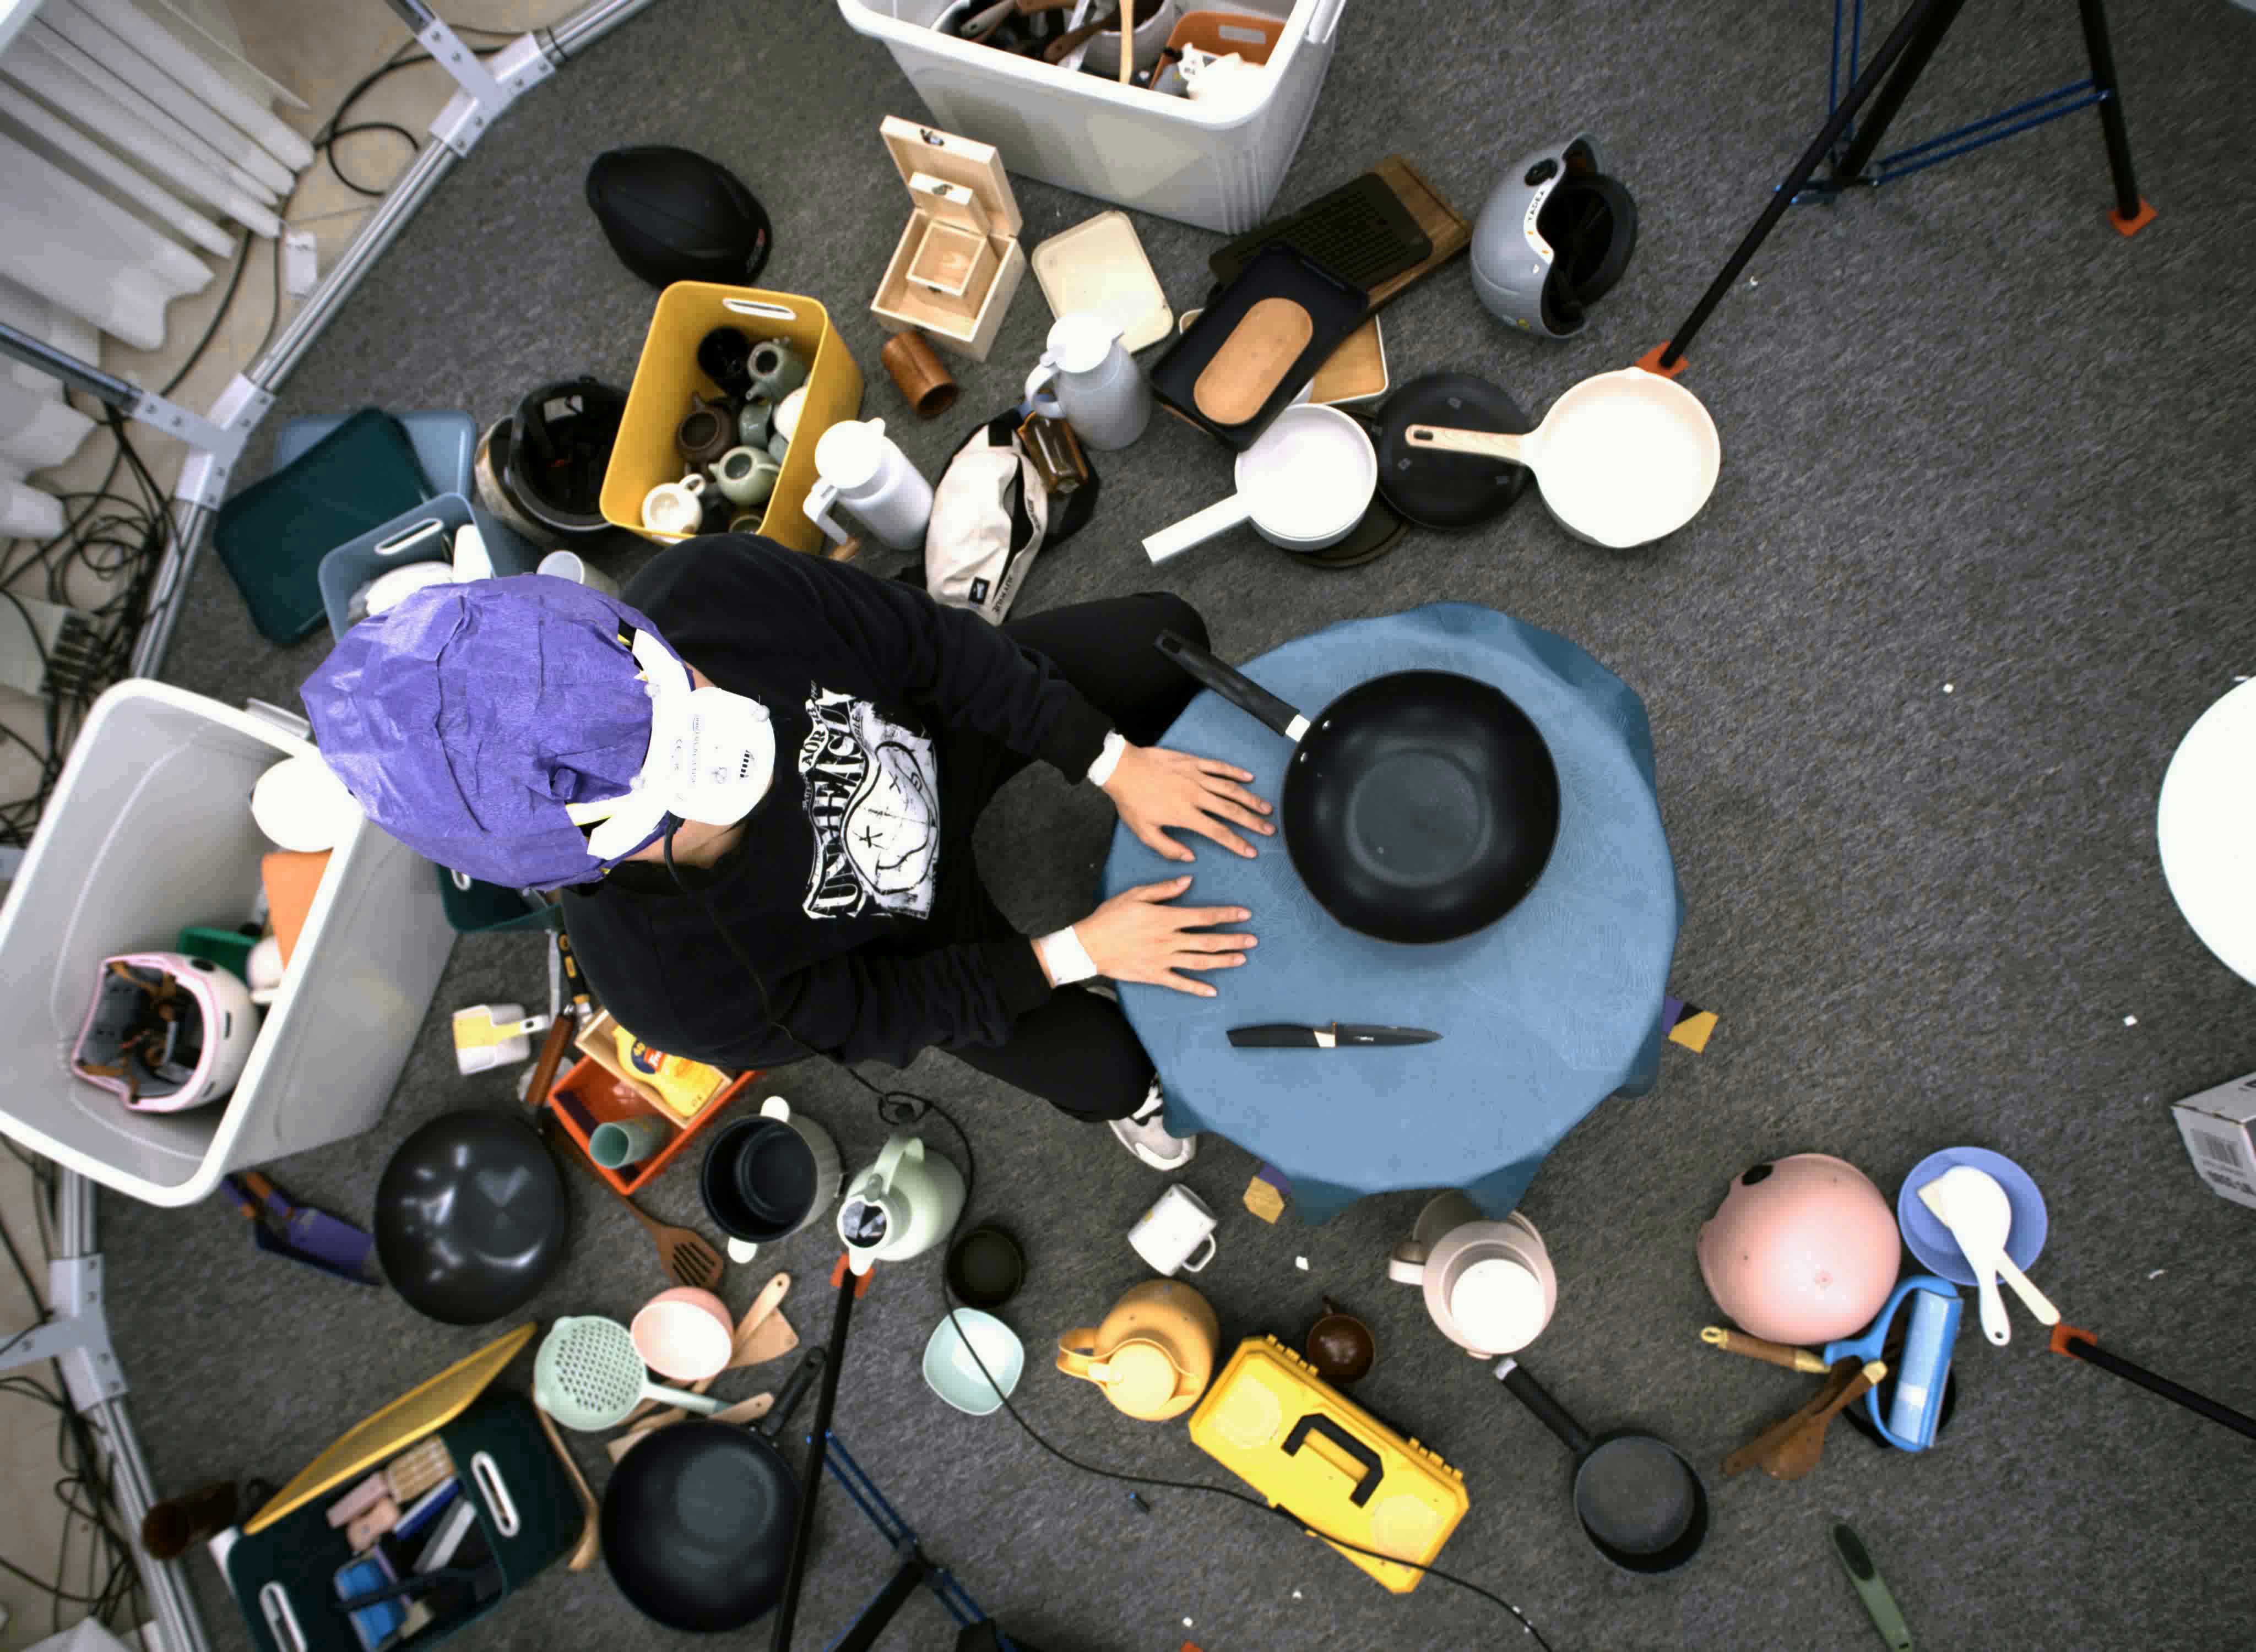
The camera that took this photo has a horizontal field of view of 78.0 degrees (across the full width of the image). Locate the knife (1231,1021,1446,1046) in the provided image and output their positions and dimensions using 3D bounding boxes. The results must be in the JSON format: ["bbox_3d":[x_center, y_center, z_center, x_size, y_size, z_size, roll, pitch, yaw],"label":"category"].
[{"bbox_3d":[0.221,0.217,1.459,0.226,0.017,0.026,-2,70,10],"label":"knife"}]

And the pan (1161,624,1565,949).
[{"bbox_3d":[0.227,-0.065,1.436,0.462,0.087,0.289,35,94,12],"label":"pan"}]
